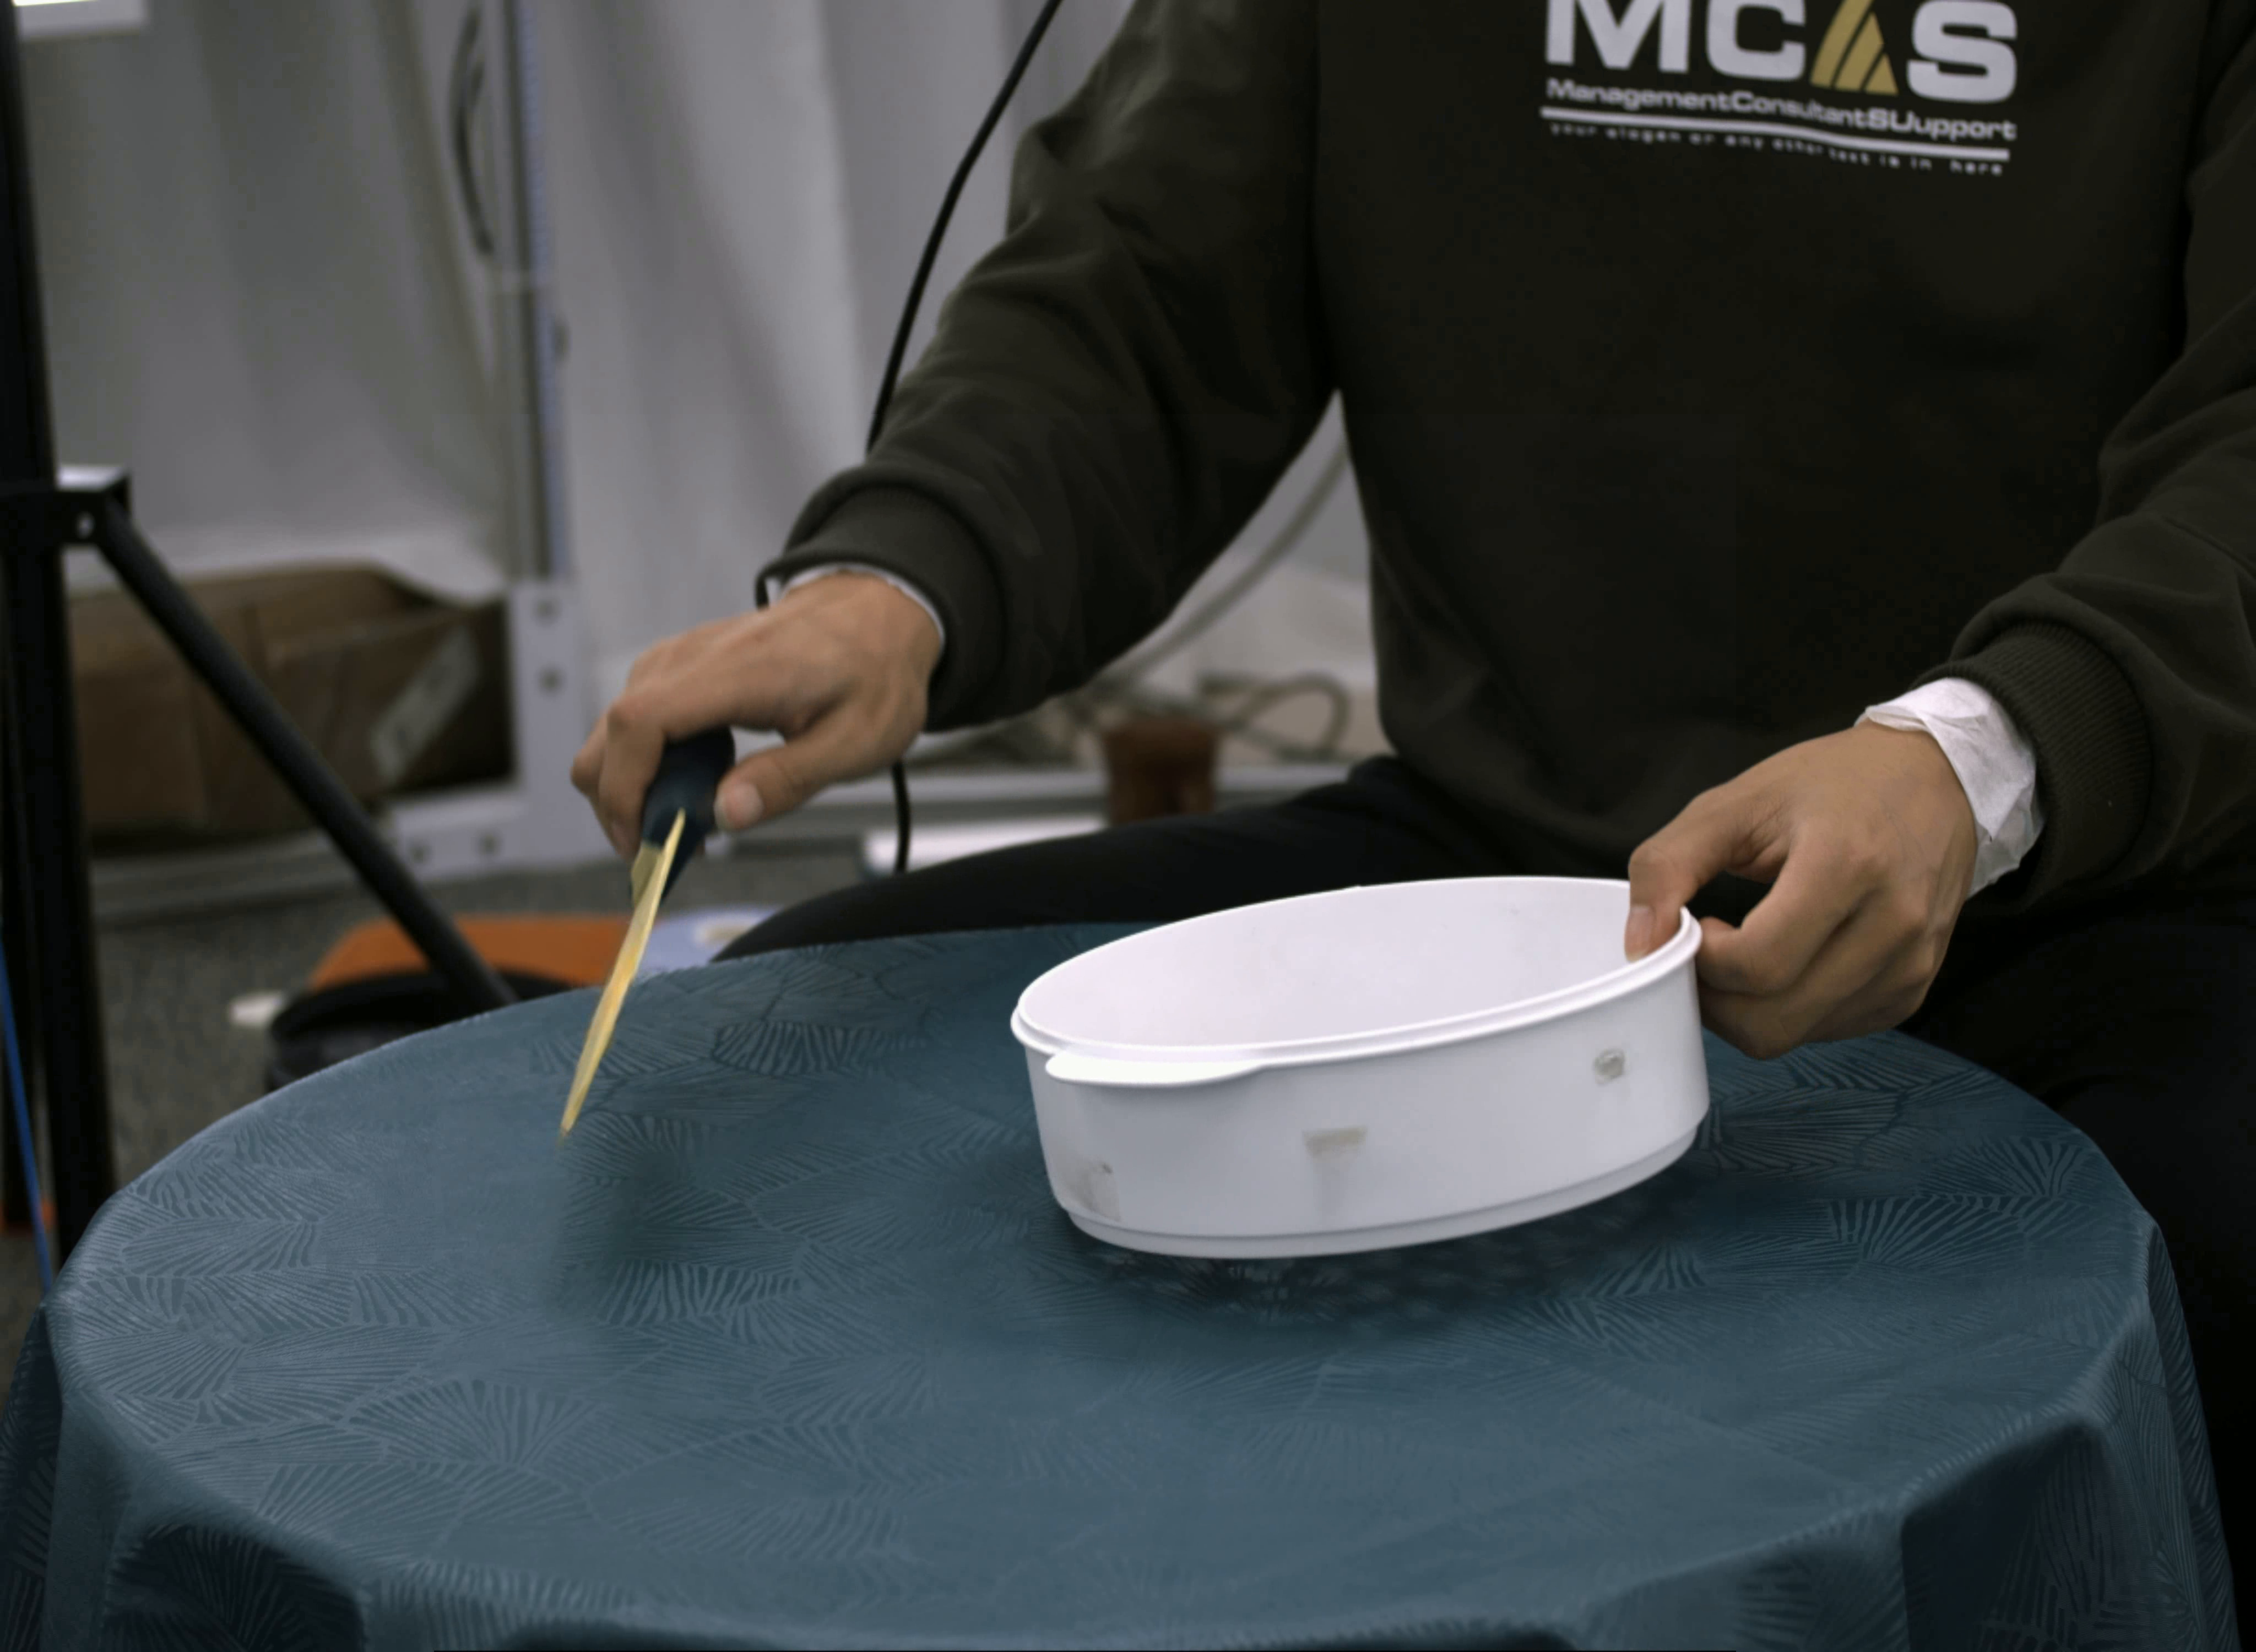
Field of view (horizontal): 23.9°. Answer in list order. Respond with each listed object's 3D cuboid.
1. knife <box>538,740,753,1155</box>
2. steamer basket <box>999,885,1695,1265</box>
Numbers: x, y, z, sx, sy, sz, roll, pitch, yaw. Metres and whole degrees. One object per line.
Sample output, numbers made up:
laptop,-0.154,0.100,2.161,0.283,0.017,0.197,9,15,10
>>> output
knife,-0.149,0.033,1.638,0.027,0.081,0.290,27,19,-5
steamer basket,0.065,0.072,1.529,0.206,0.069,0.225,3,14,40
